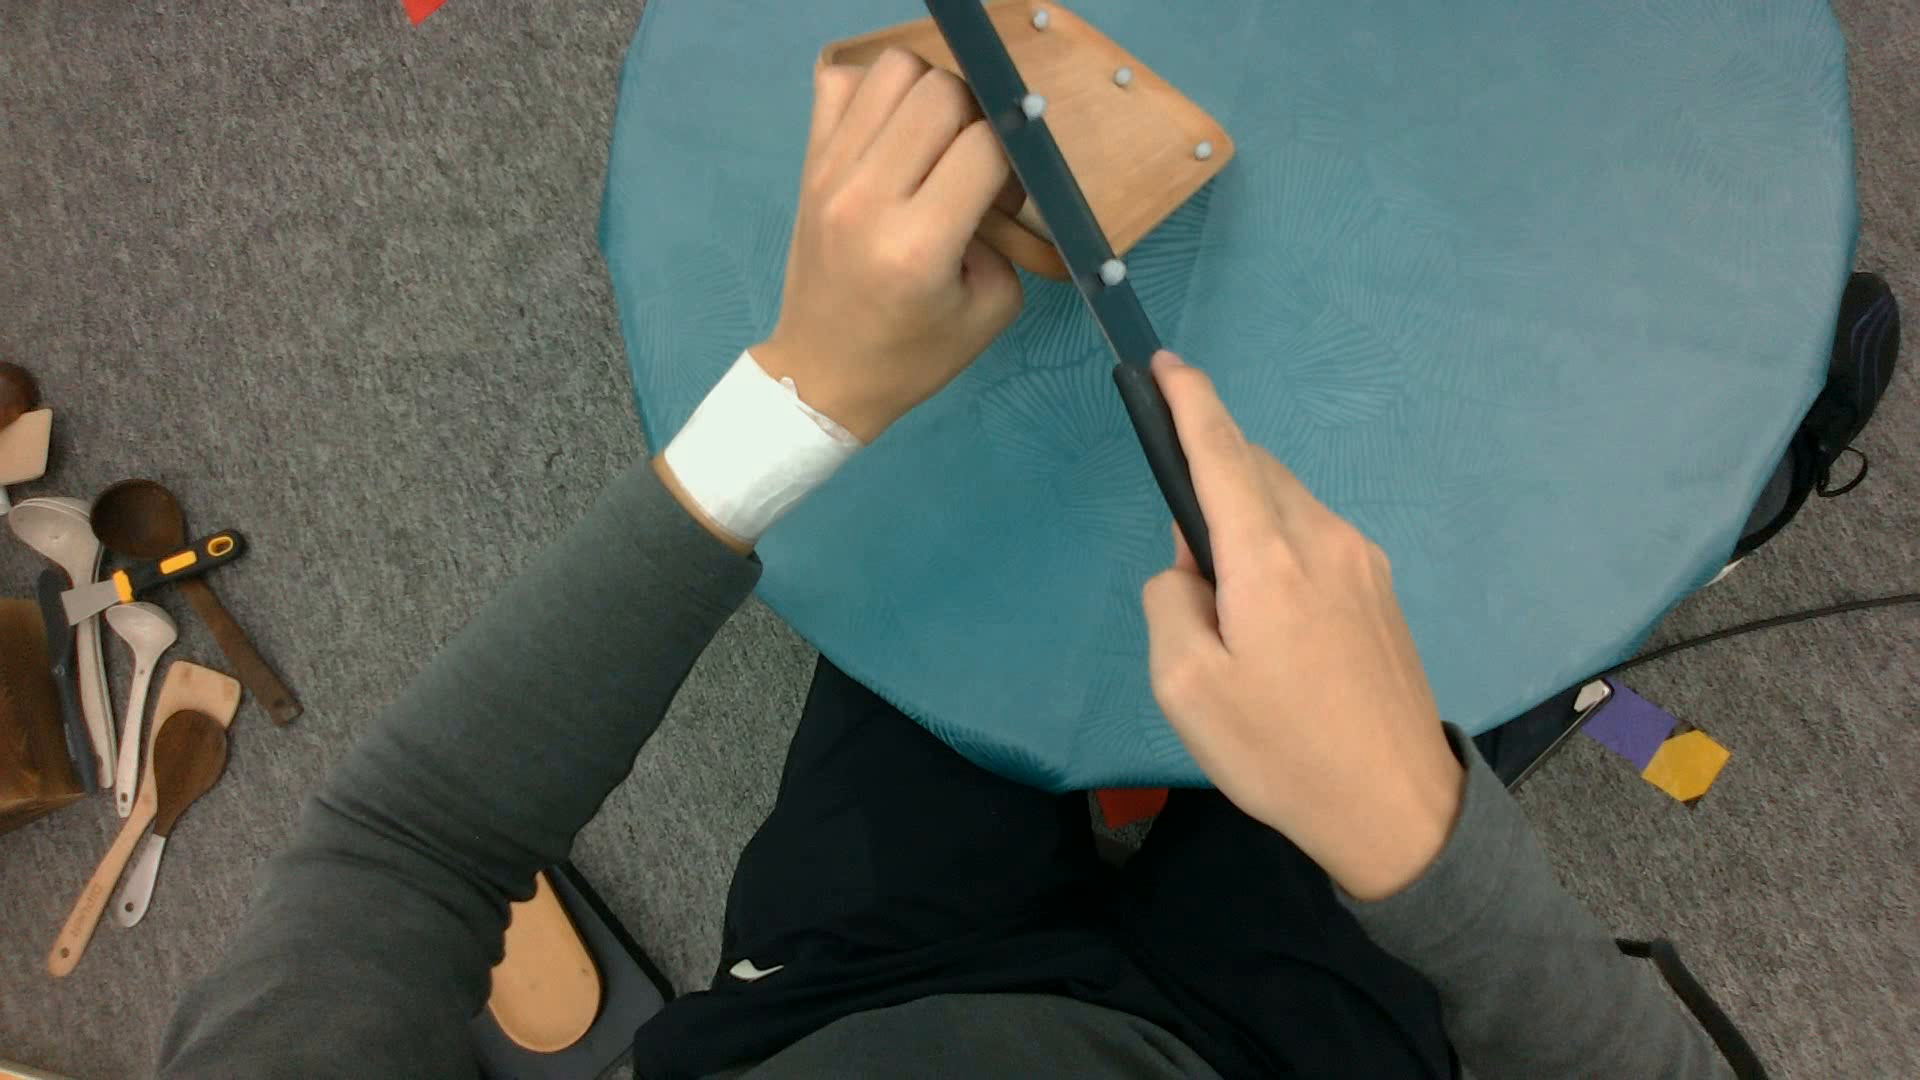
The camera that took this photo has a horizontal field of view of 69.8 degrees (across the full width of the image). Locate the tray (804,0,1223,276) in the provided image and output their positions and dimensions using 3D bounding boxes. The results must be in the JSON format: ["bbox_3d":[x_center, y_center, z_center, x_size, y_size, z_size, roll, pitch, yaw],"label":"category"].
[{"bbox_3d":[0.034,-0.177,0.575,0.130,0.252,0.023,37,125,5],"label":"tray"}]

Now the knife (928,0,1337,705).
[{"bbox_3d":[0.050,-0.081,0.459,0.021,0.081,0.302,-27,87,23],"label":"knife"}]
